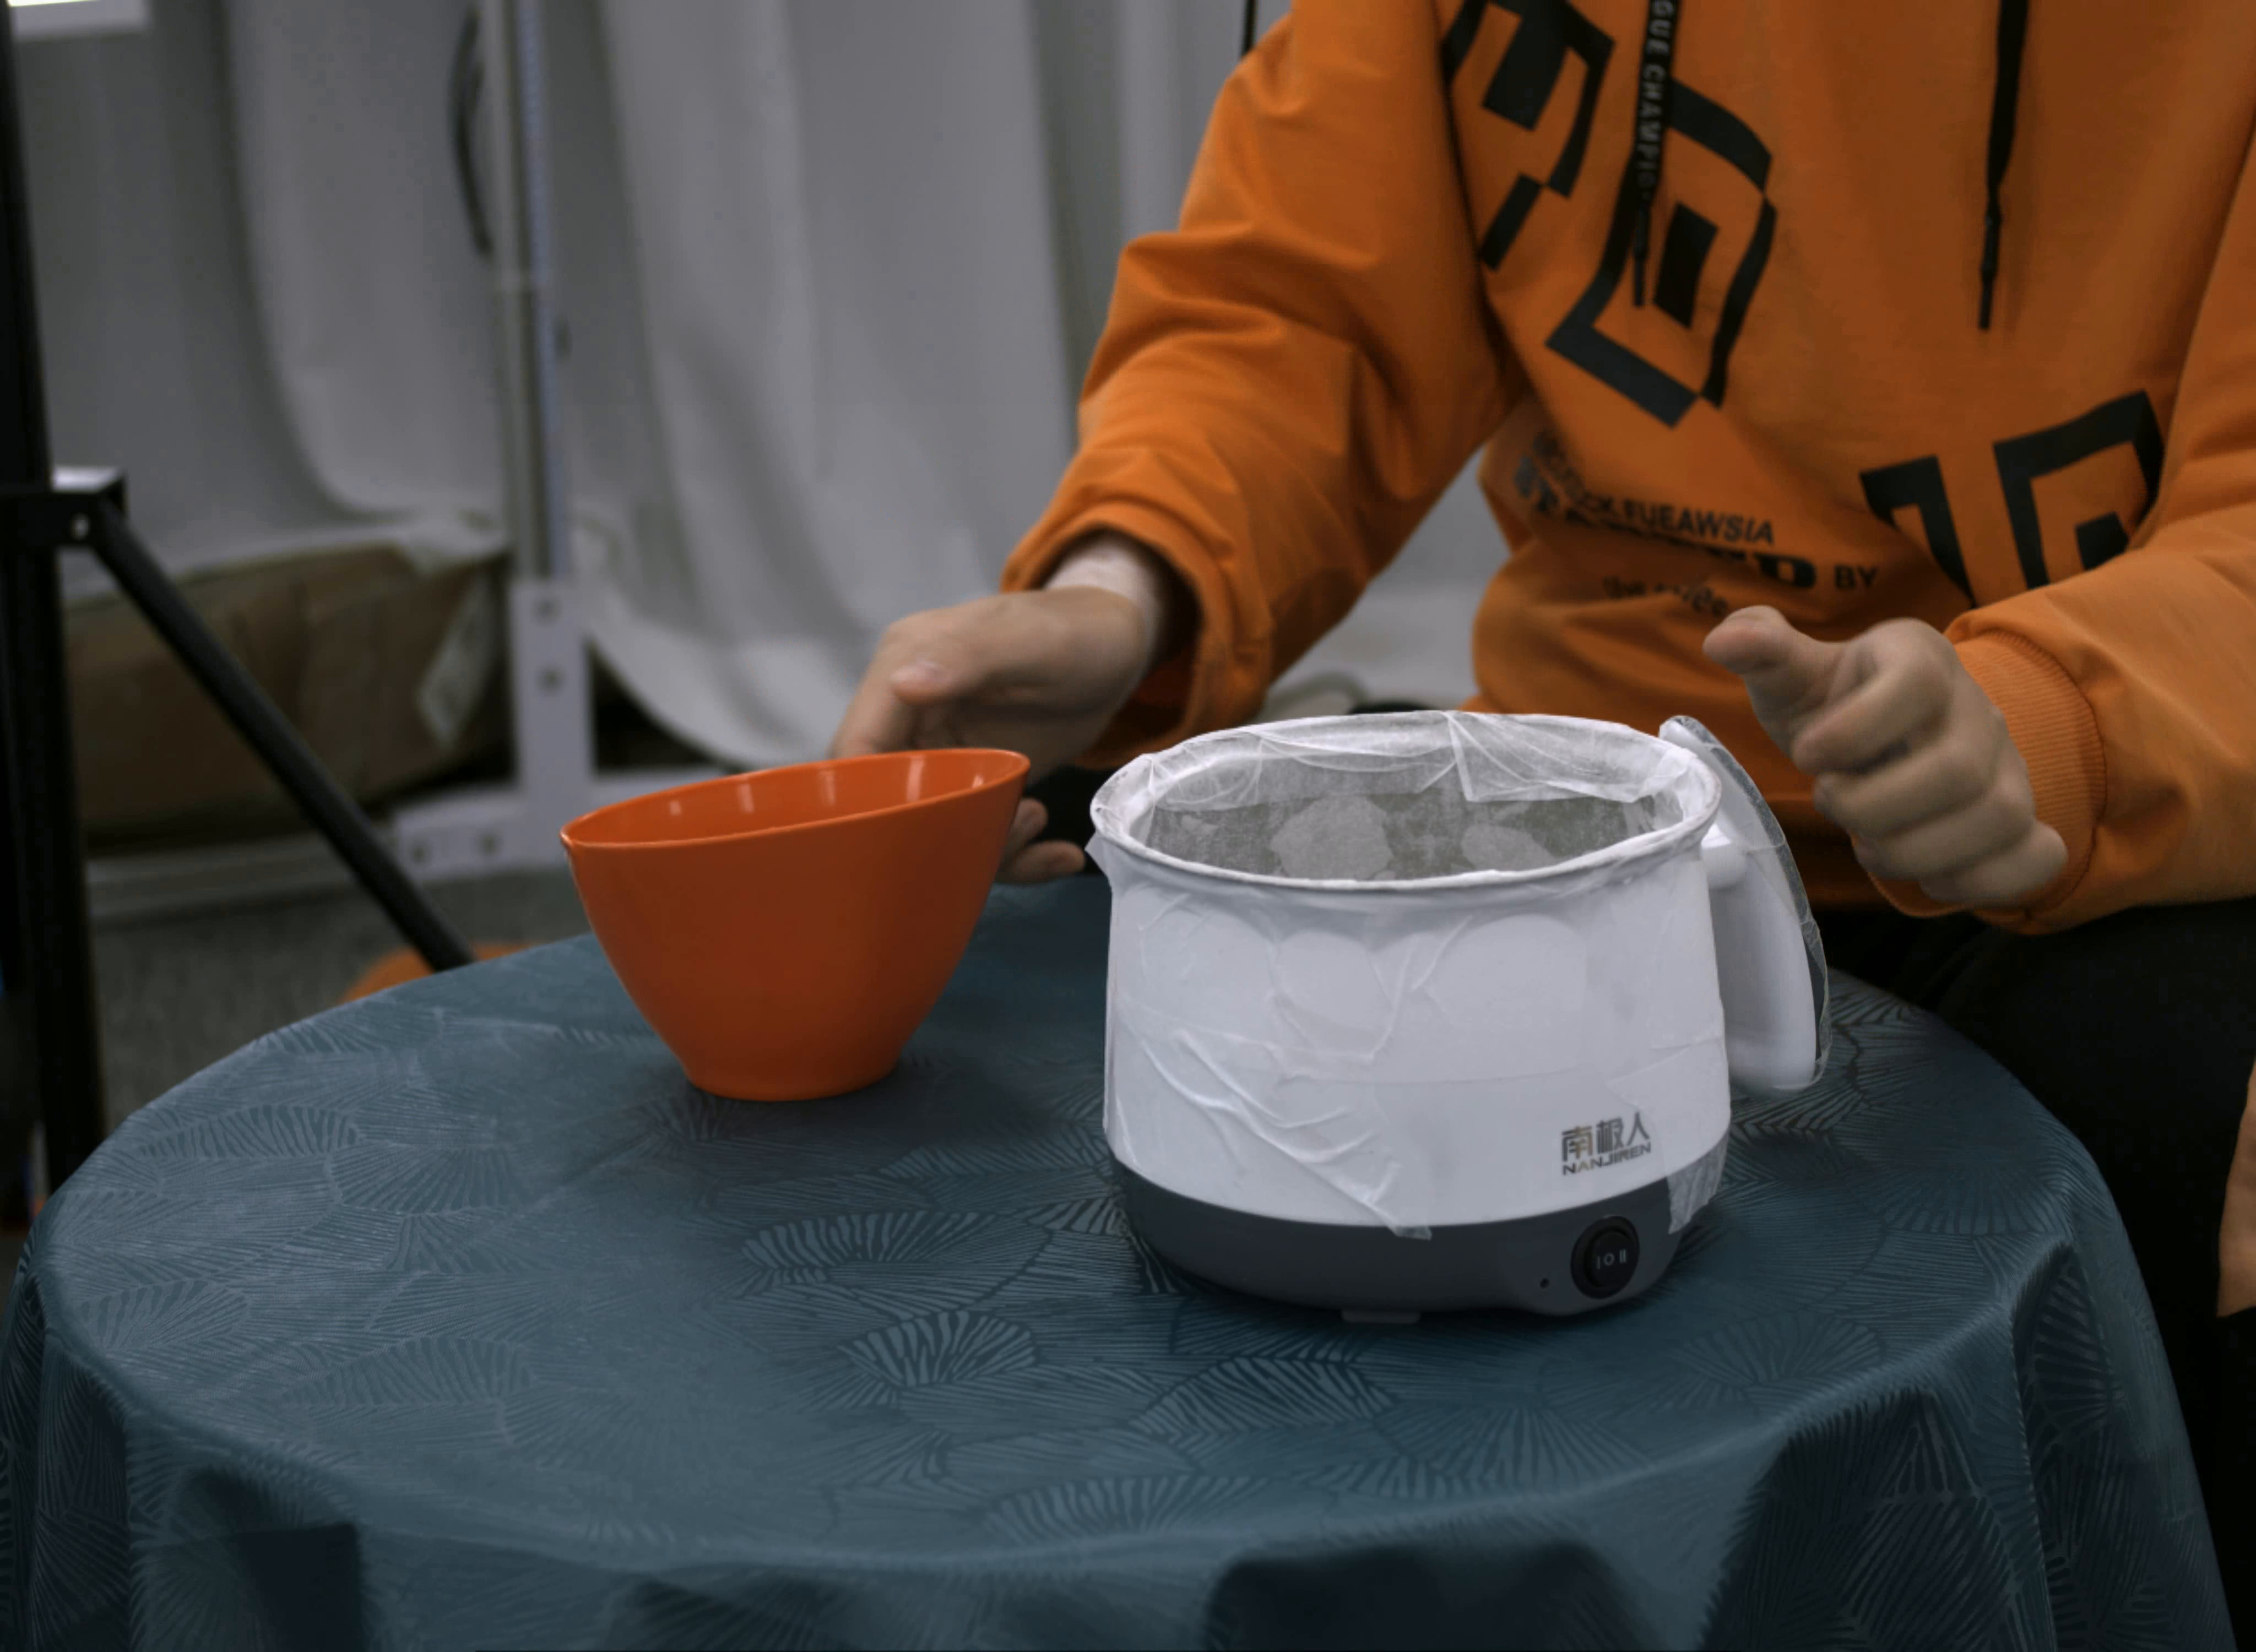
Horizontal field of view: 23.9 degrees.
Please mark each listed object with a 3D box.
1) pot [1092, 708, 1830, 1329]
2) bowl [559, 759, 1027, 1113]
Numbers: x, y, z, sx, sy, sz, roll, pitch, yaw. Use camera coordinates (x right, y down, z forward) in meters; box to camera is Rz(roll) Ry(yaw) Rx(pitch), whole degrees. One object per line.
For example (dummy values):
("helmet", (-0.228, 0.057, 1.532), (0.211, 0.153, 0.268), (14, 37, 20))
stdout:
("pot", (0.103, 0.047, 1.505), (0.228, 0.136, 0.183), (-13, 19, -32))
("bowl", (-0.102, 0.033, 1.663), (0.147, 0.104, 0.149), (-4, 14, 0))
